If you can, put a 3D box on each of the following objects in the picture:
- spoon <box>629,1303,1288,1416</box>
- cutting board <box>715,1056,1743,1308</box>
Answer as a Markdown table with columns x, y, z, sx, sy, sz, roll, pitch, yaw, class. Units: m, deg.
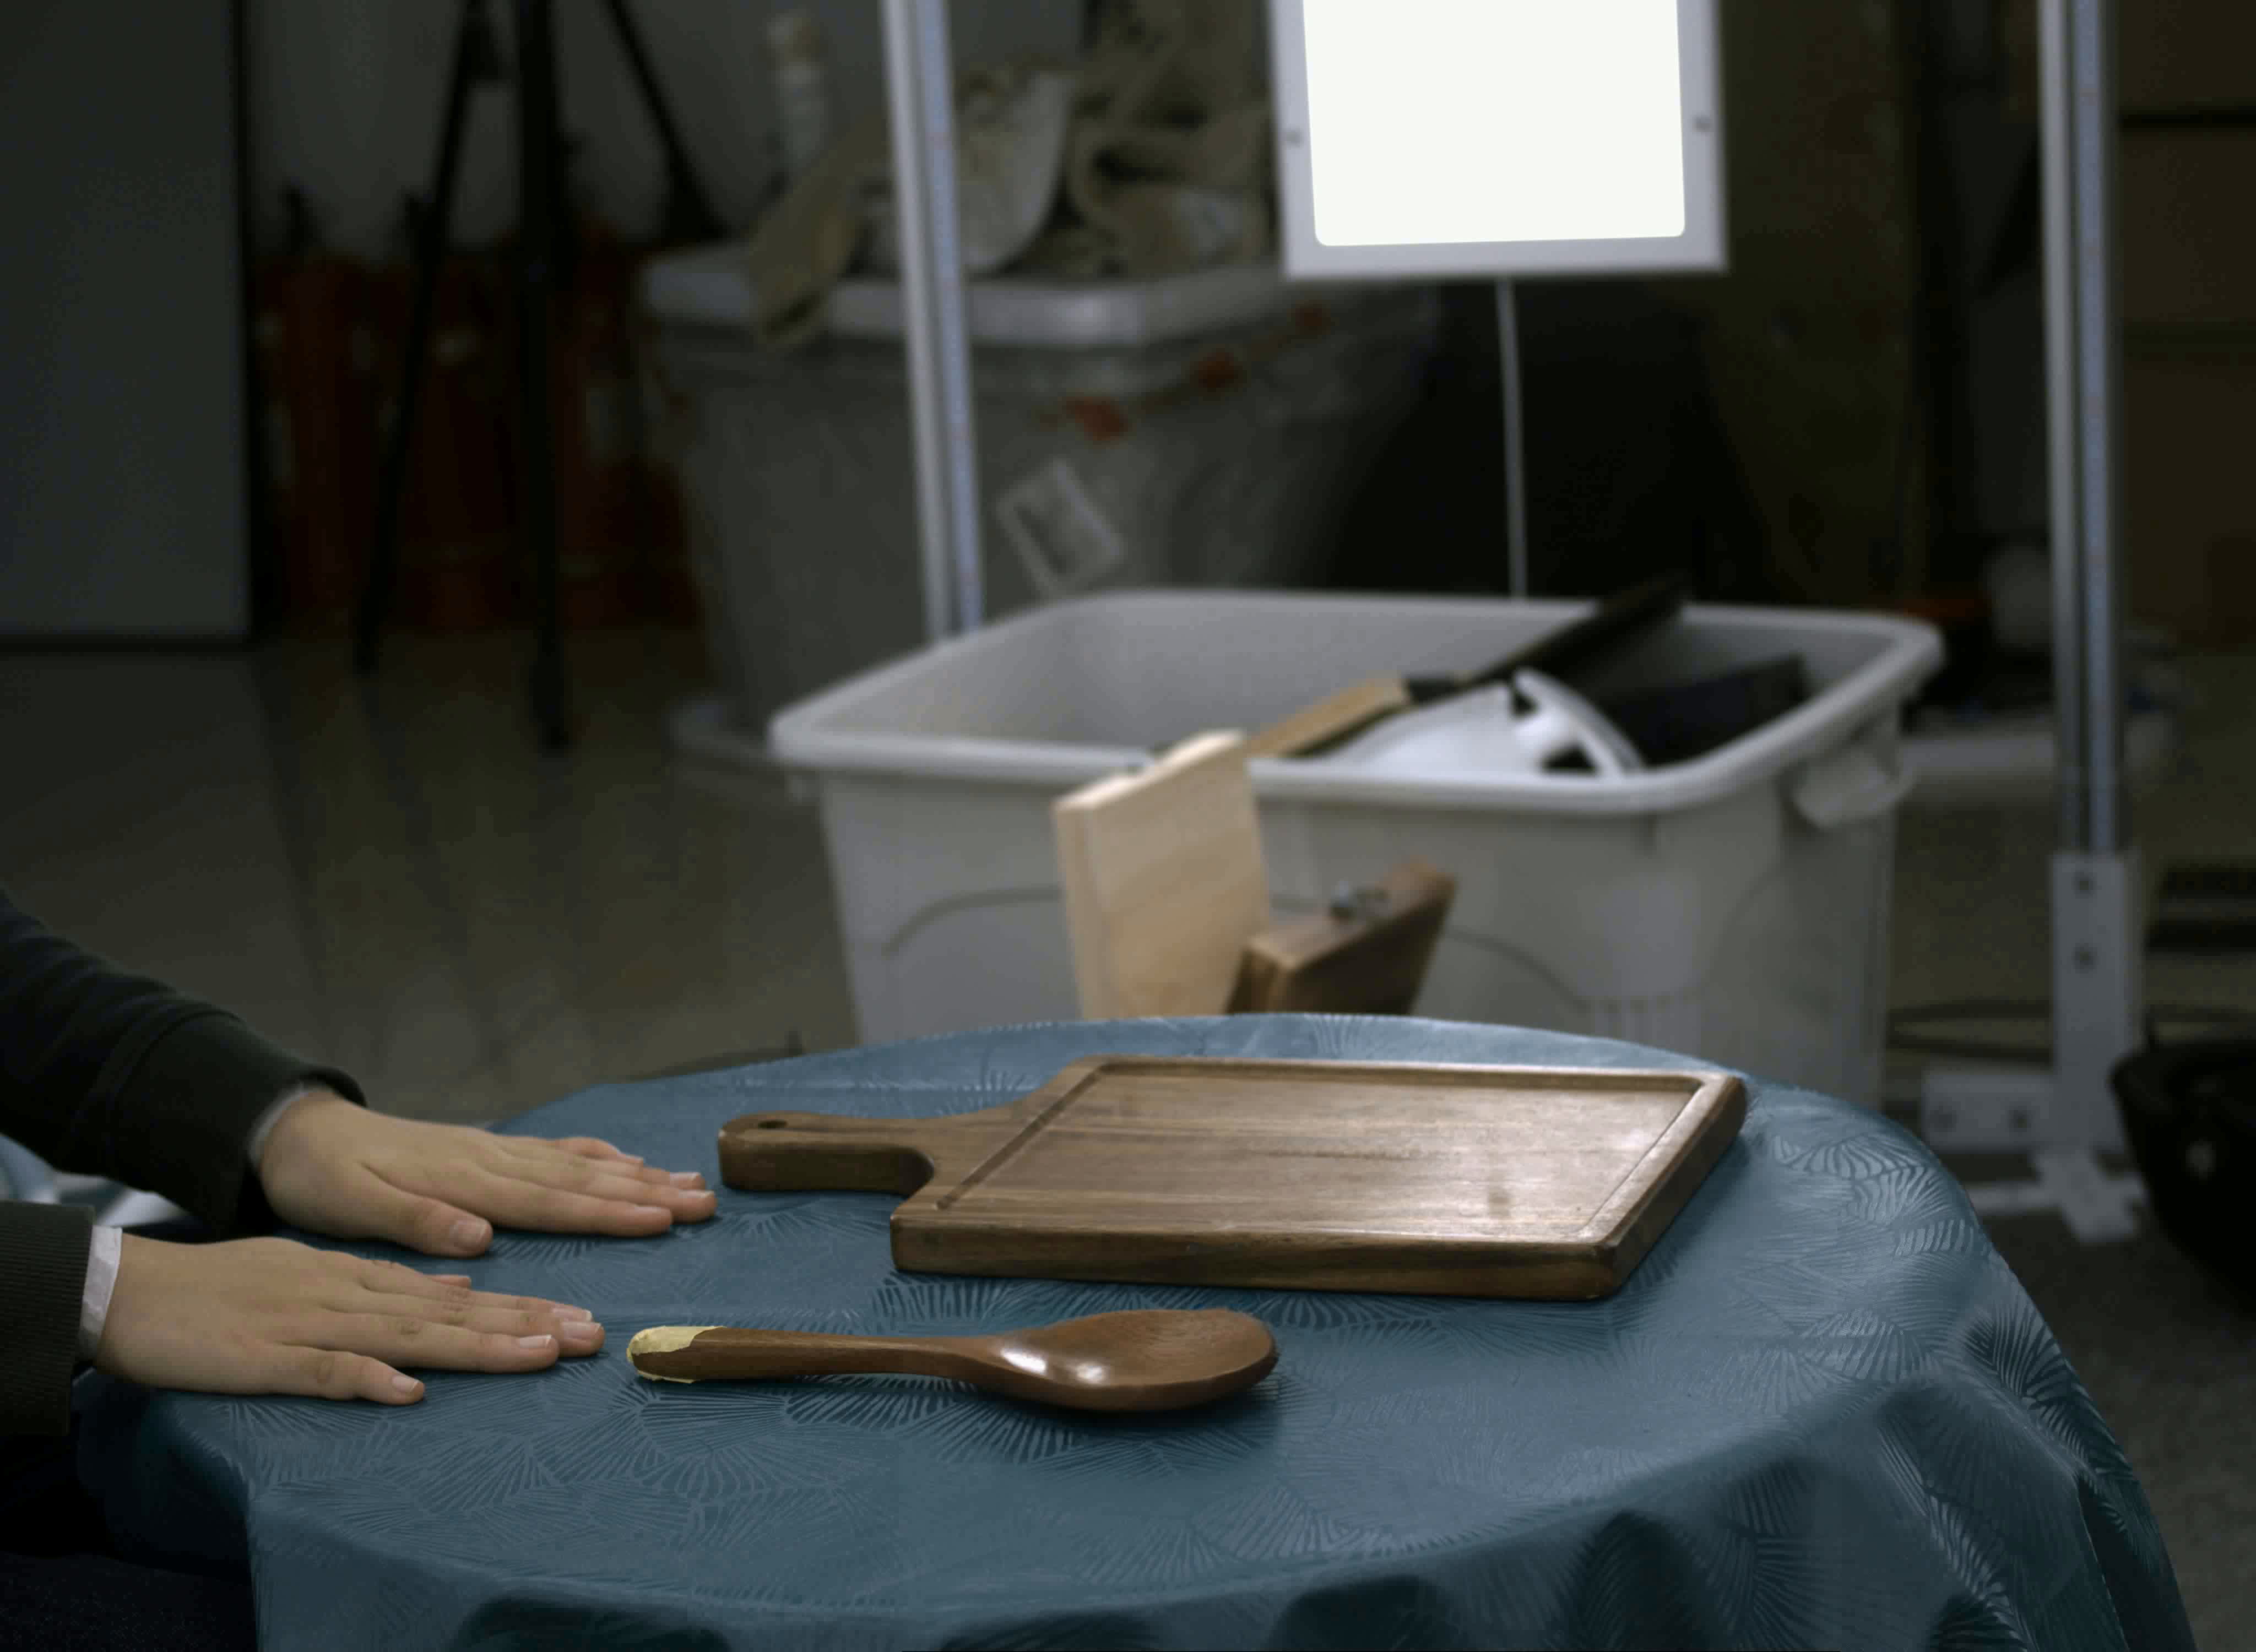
| x | y | z | sx | sy | sz | roll | pitch | yaw | class |
| --- | --- | --- | --- | --- | --- | --- | --- | --- | --- |
| -0.054 | 0.166 | 1.720 | 0.218 | 0.017 | 0.074 | 1 | 16 | 20 | spoon |
| 0.022 | 0.118 | 1.890 | 0.357 | 0.023 | 0.197 | 0 | 16 | 22 | cutting board |
